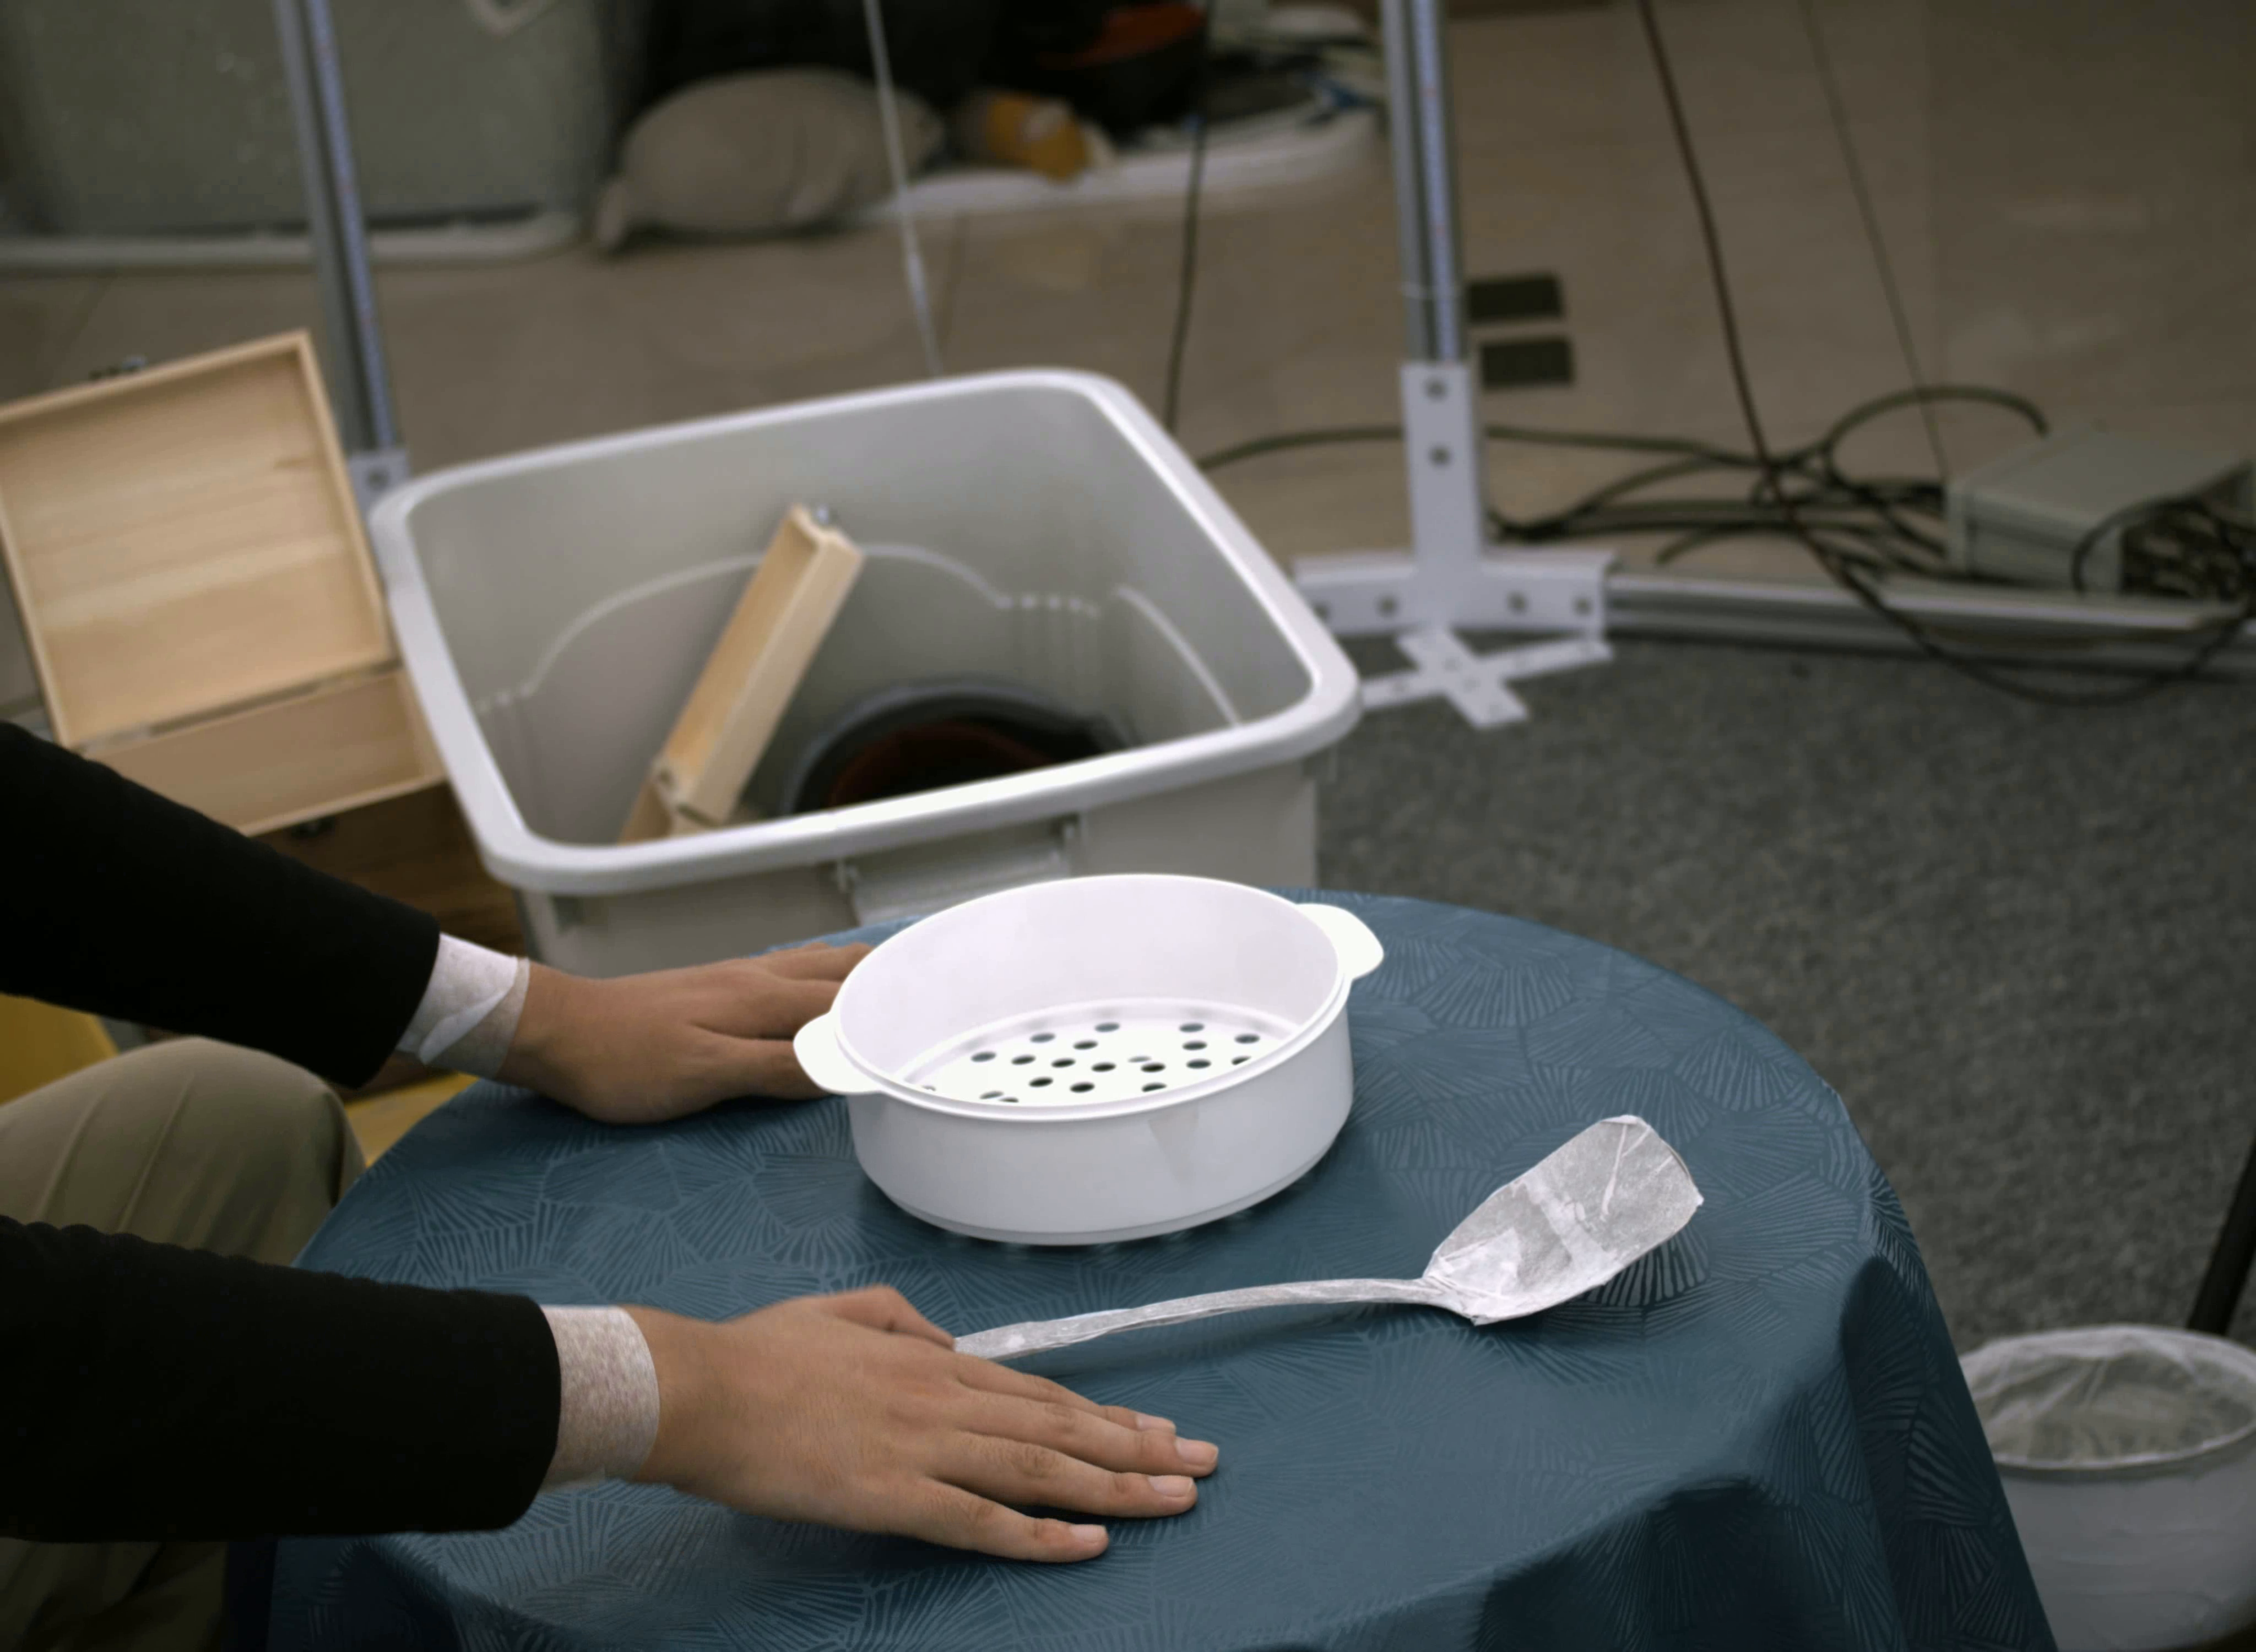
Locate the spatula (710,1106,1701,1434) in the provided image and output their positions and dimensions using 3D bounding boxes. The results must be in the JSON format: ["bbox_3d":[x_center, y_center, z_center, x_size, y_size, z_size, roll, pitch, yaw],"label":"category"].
[{"bbox_3d":[0.027,0.168,2.034,0.364,0.045,0.097,-10,26,-7],"label":"spatula"}]

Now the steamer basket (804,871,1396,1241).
[{"bbox_3d":[-0.007,0.089,2.174,0.230,0.070,0.199,-14,25,-12],"label":"steamer basket"}]
